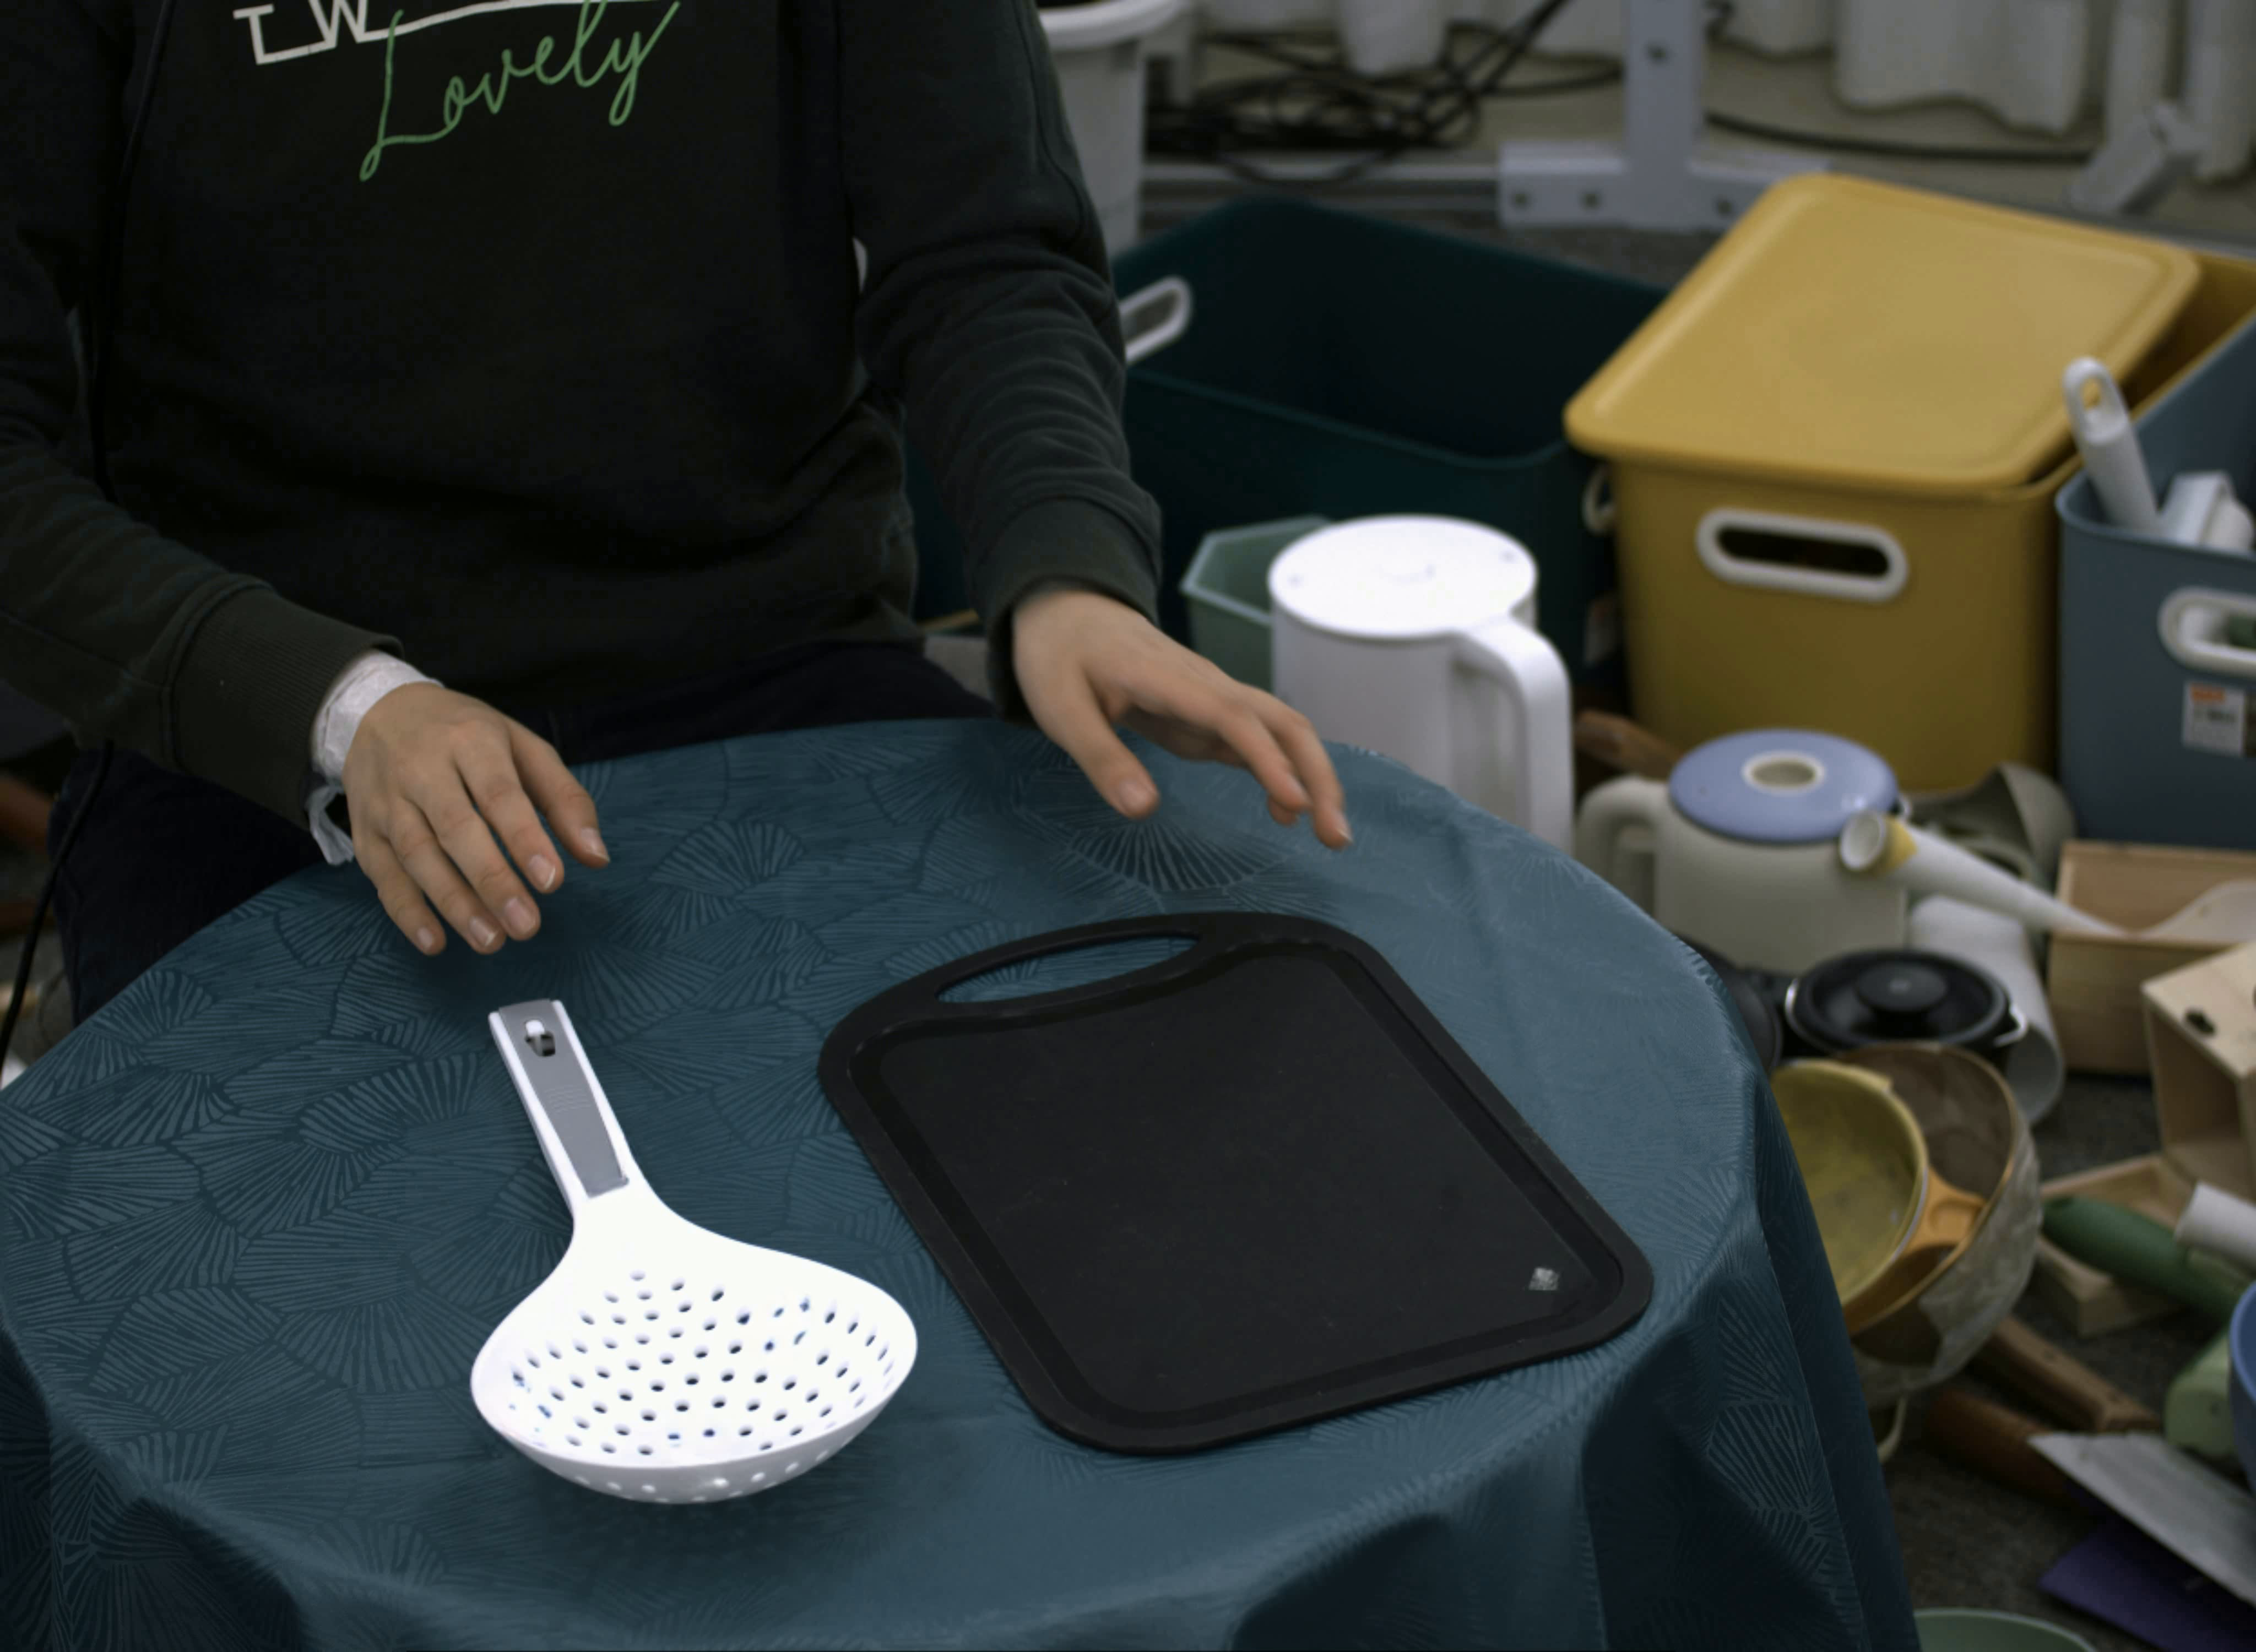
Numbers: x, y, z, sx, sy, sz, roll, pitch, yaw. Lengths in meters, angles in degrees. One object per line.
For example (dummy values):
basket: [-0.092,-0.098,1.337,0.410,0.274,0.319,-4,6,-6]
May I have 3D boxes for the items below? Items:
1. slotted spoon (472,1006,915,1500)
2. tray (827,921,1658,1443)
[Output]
slotted spoon: [-0.162,0.131,1.810,0.136,0.045,0.353,-8,27,-14]
tray: [0.028,0.109,1.875,0.211,0.009,0.328,-11,28,-17]
